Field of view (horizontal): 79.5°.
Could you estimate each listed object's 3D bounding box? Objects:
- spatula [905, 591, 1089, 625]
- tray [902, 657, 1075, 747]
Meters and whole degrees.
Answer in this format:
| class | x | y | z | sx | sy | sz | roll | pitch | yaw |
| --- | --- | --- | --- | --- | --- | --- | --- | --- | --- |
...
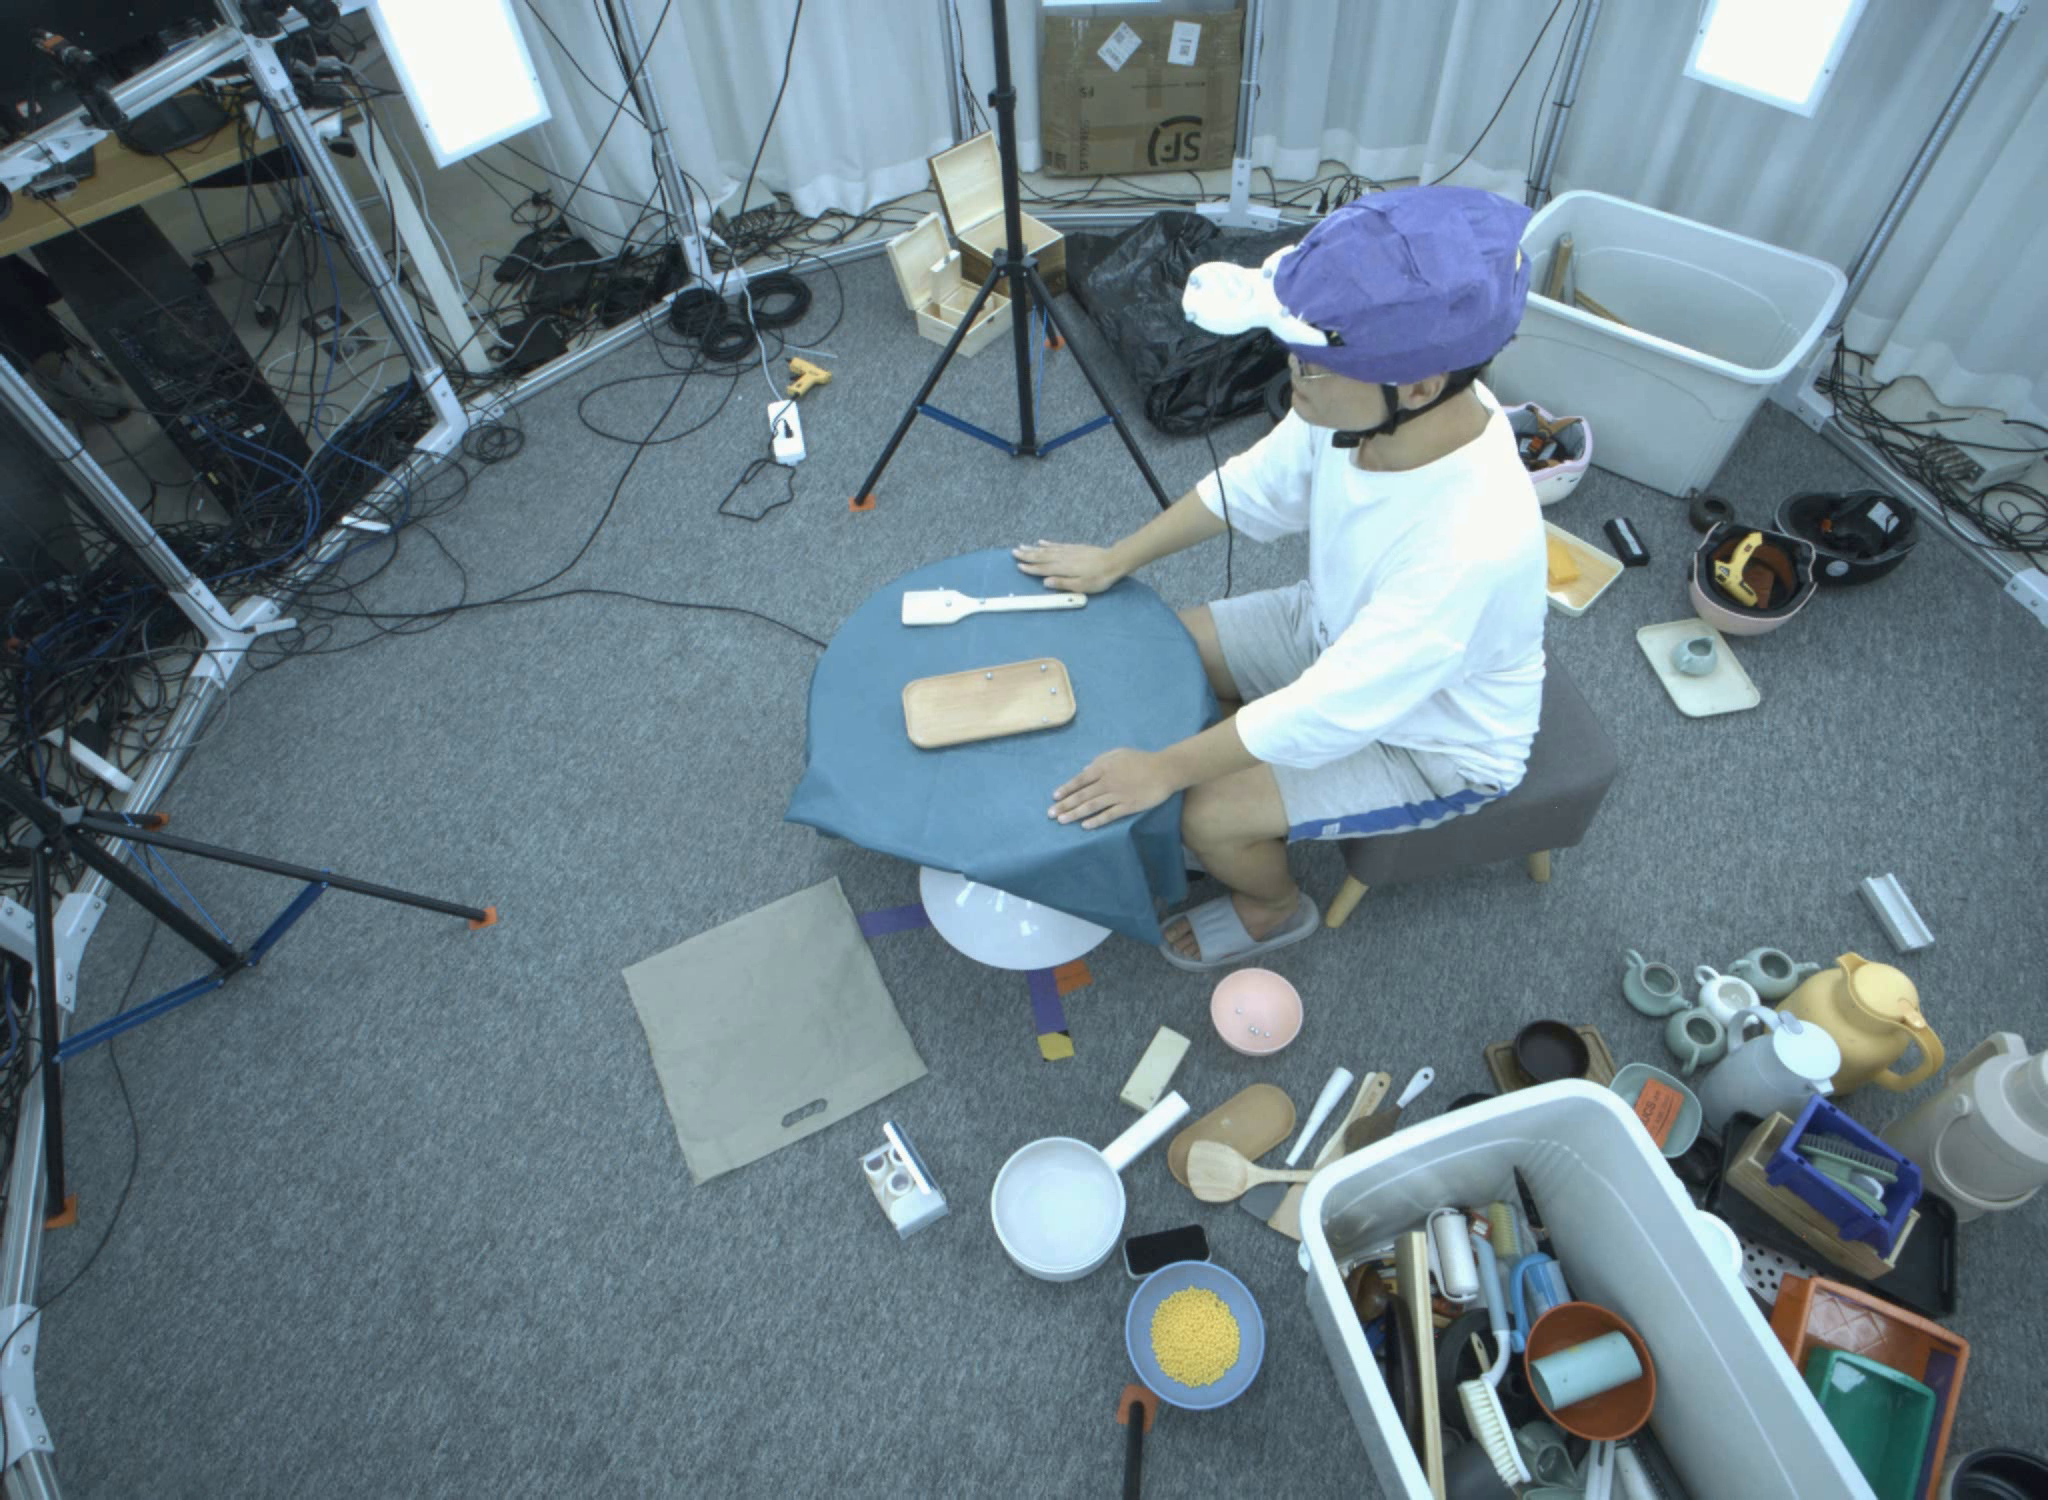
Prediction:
| class | x | y | z | sx | sy | sz | roll | pitch | yaw |
| --- | --- | --- | --- | --- | --- | --- | --- | --- | --- |
| spatula | -0.043 | -0.231 | 1.946 | 0.293 | 0.011 | 0.071 | -3 | 53 | 0 |
| tray | -0.054 | -0.071 | 1.827 | 0.251 | 0.023 | 0.128 | -9 | 52 | -4 |
